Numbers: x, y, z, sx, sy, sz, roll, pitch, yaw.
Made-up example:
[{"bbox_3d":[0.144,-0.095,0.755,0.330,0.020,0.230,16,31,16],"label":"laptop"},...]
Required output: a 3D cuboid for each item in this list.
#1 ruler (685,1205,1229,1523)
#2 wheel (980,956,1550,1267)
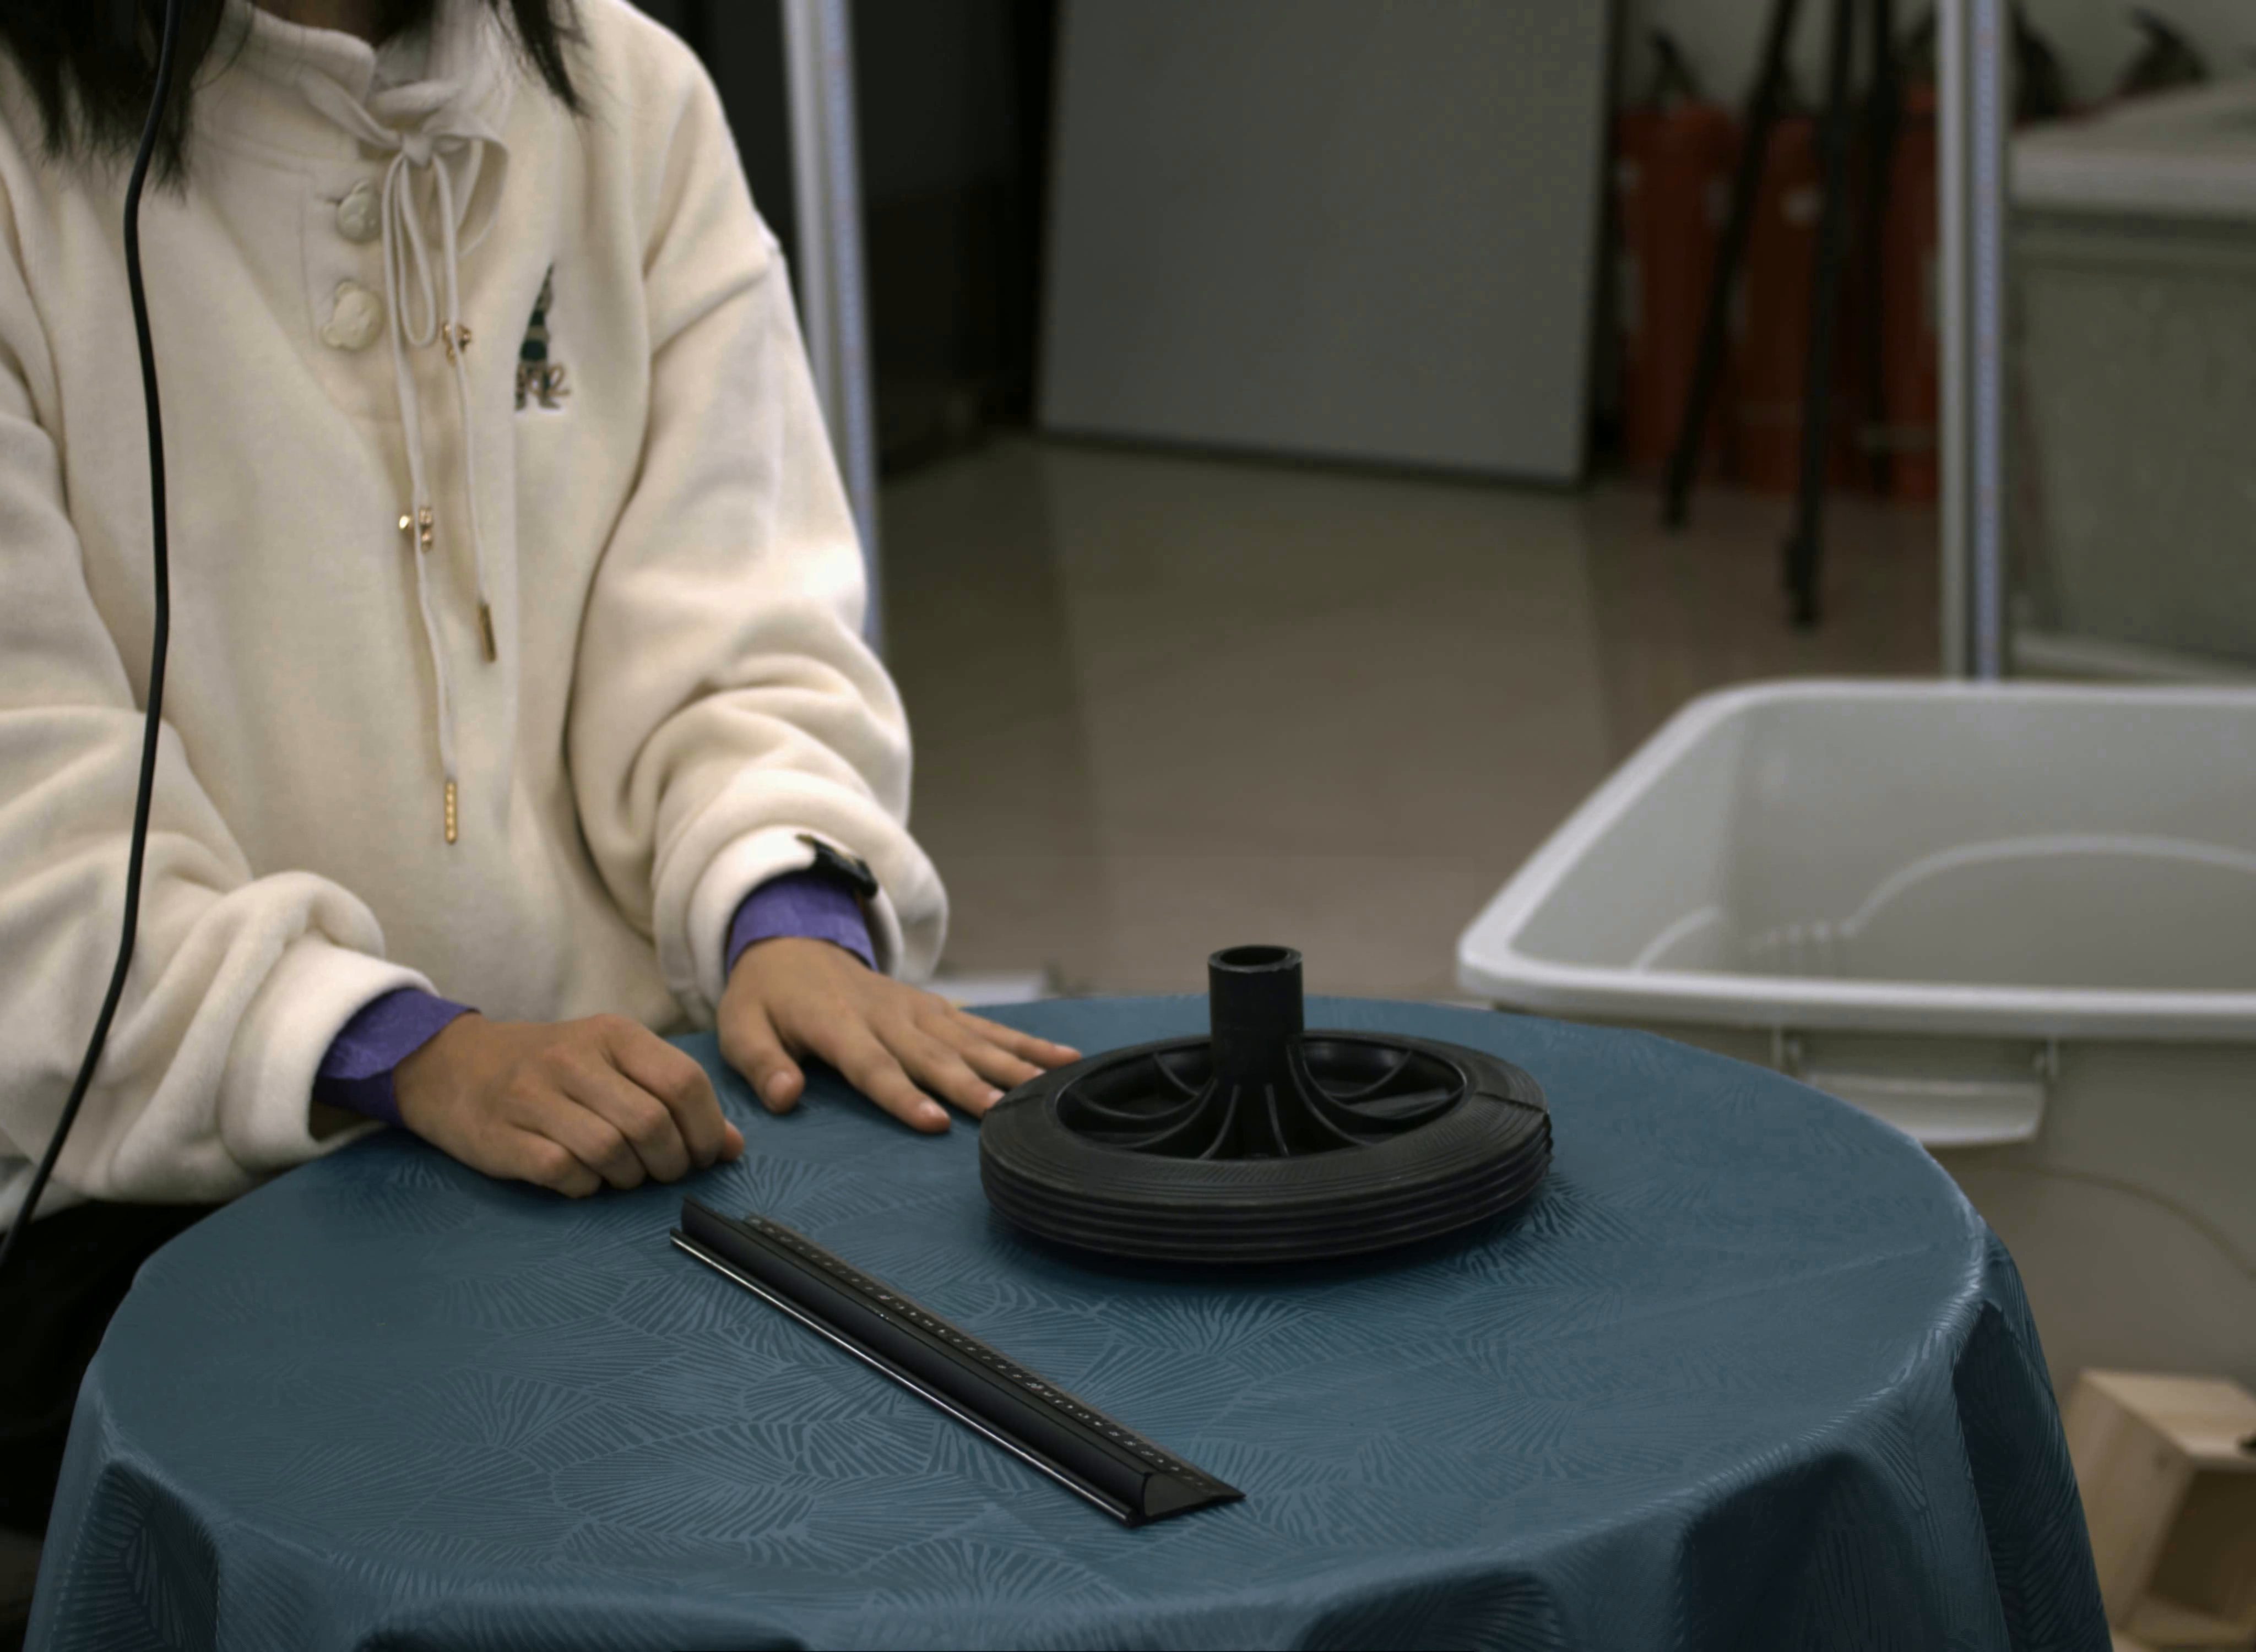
[{"bbox_3d":[-0.057,0.155,1.618,0.038,0.017,0.316,-7,13,-26],"label":"ruler"},{"bbox_3d":[0.044,0.084,1.746,0.186,0.080,0.189,-15,18,-40],"label":"wheel"}]
